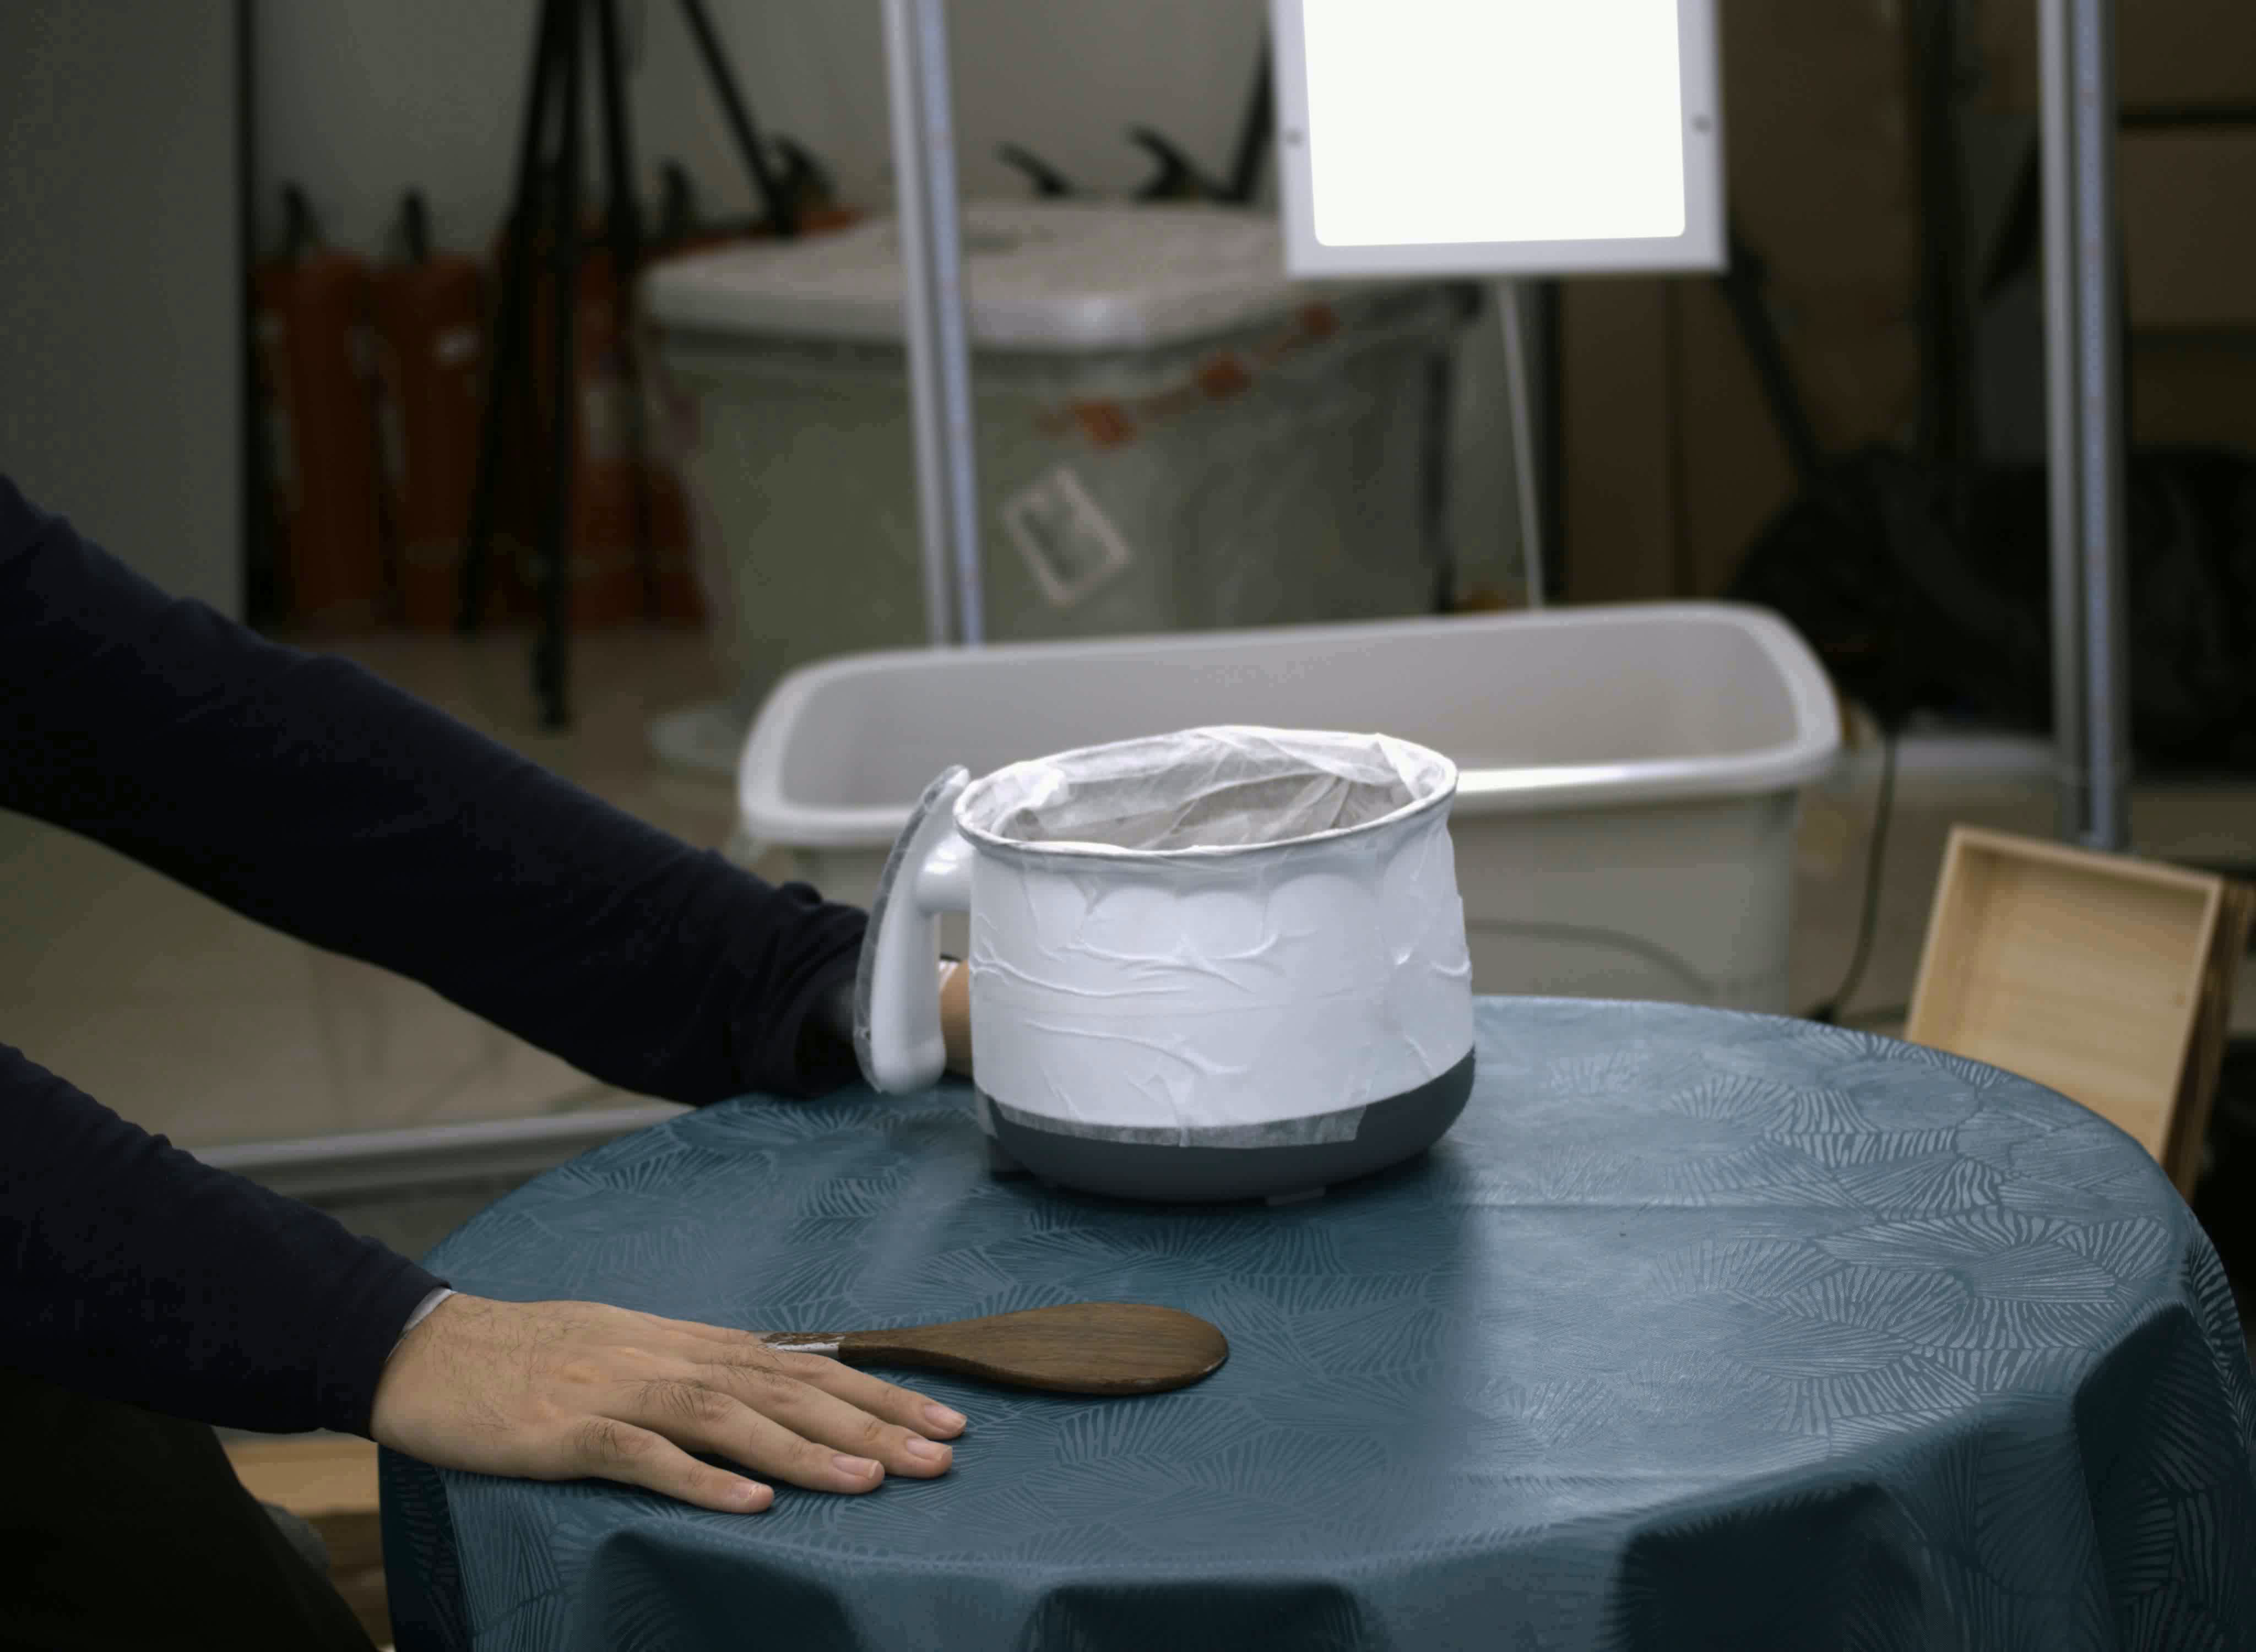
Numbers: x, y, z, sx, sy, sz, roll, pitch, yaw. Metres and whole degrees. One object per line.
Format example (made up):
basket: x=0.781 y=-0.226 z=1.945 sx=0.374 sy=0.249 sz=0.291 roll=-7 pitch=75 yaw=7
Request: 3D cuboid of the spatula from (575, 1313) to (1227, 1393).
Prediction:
spatula: x=-0.073 y=0.168 z=1.752 sx=0.218 sy=0.009 sz=0.071 roll=-2 pitch=13 yaw=18

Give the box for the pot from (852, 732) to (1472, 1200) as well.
pot: x=0.007 y=0.045 z=1.936 sx=0.237 sy=0.137 sz=0.175 roll=4 pitch=13 yaw=27
